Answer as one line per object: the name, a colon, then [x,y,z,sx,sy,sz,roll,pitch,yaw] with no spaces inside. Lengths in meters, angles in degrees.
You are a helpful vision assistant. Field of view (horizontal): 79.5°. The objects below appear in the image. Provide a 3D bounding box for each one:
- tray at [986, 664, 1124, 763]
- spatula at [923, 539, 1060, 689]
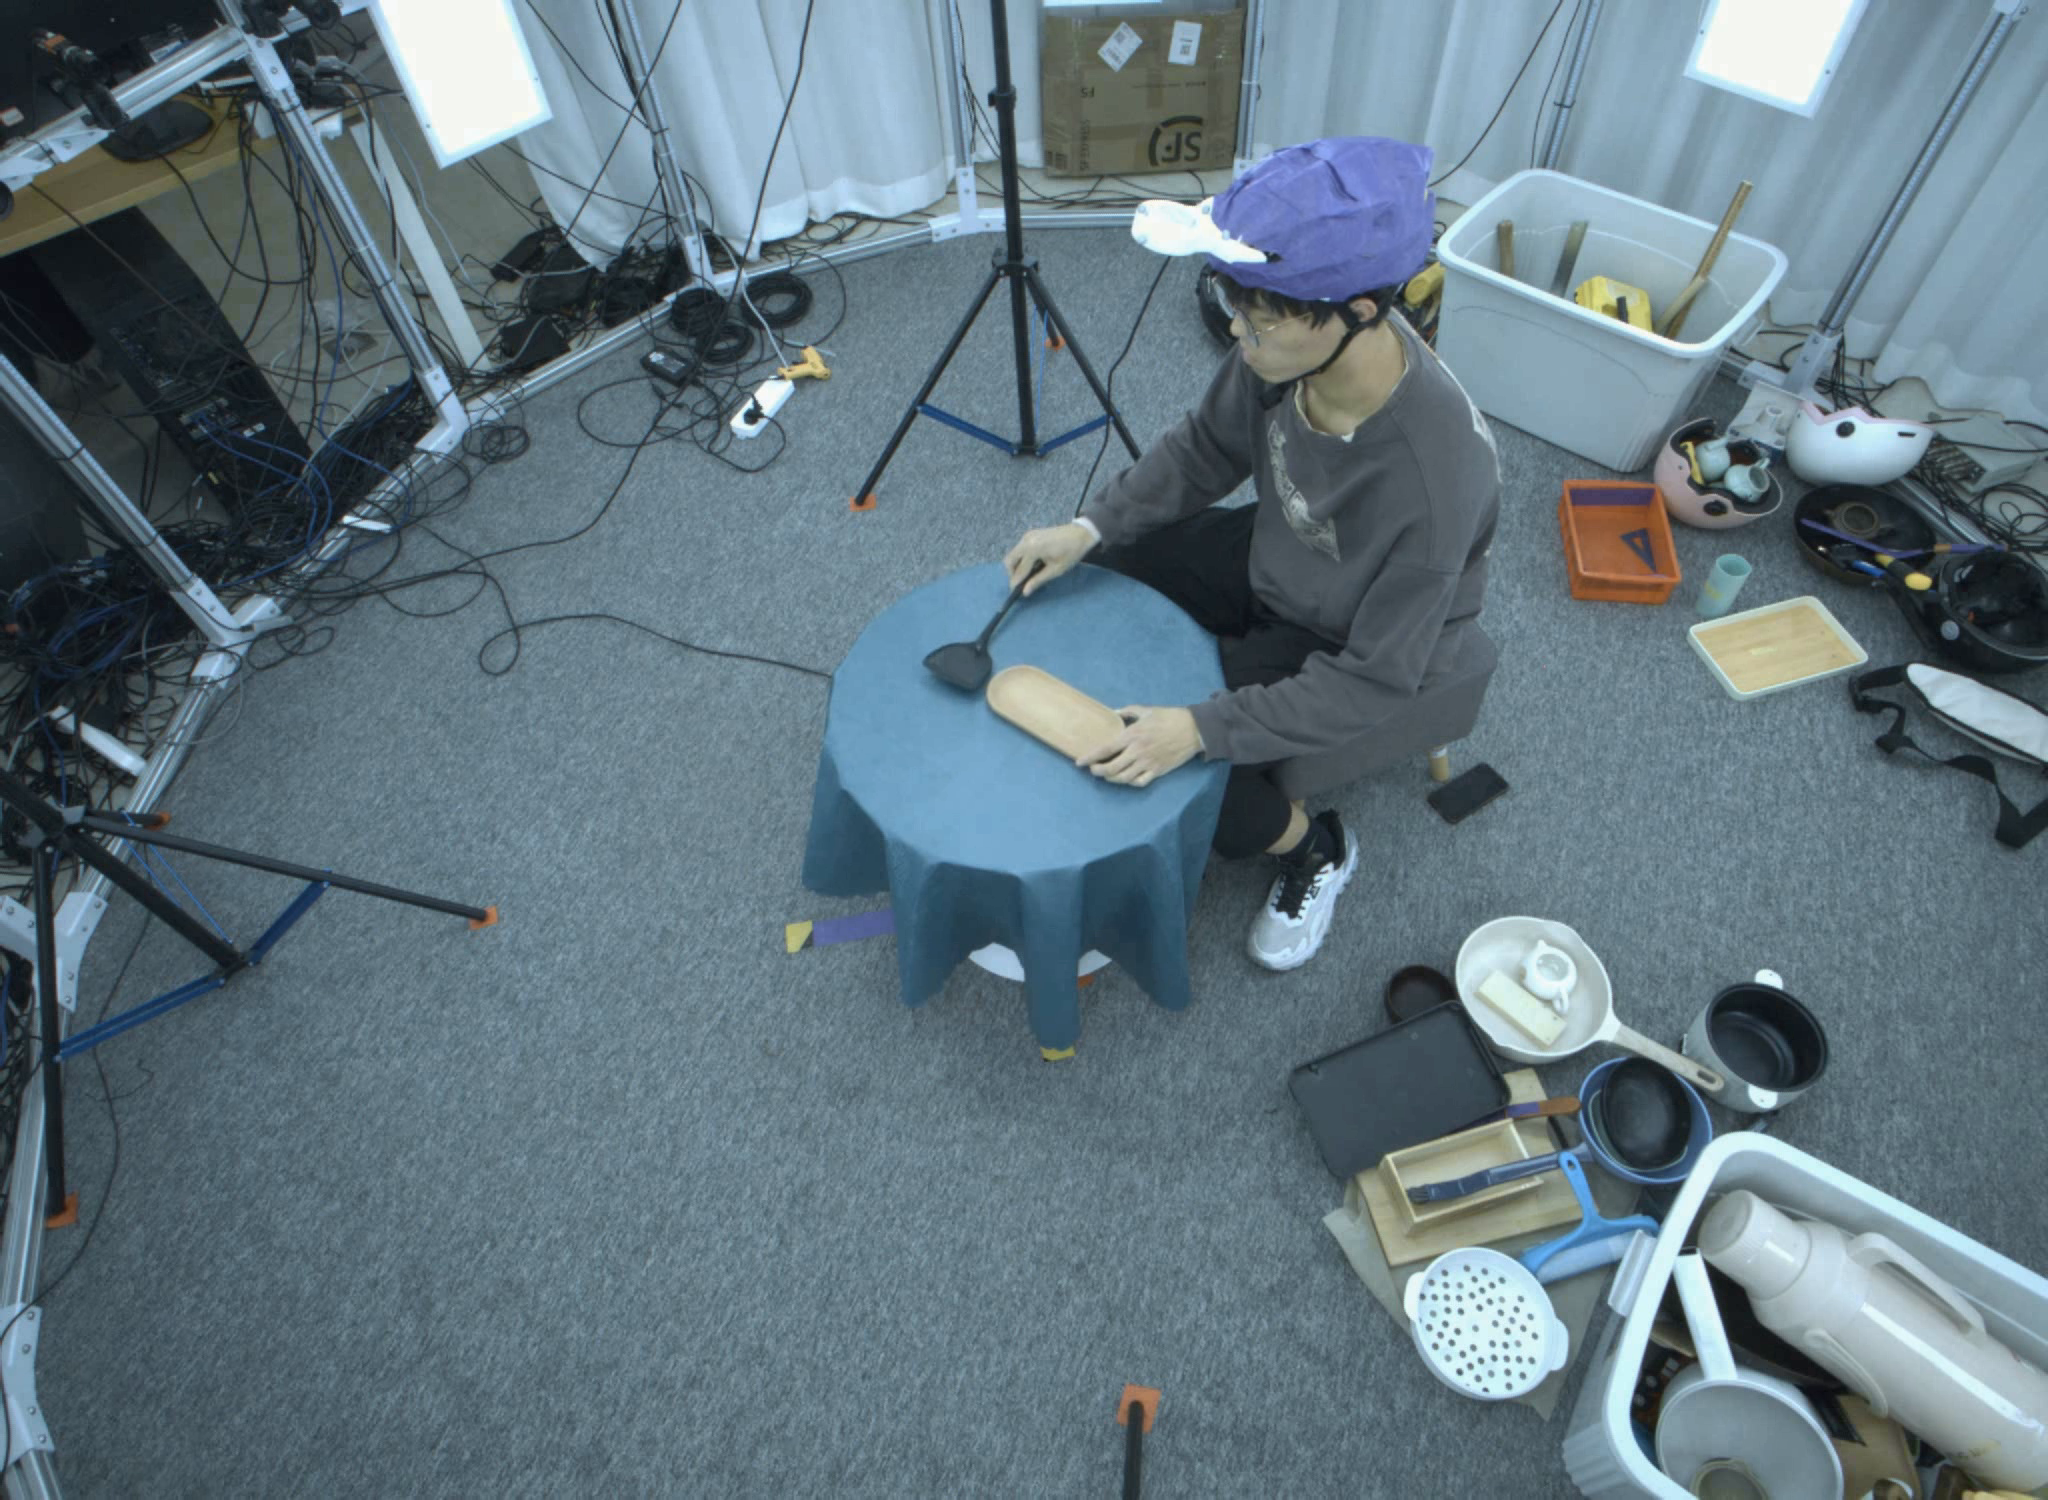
tray: [0.044,-0.055,1.813,0.227,0.020,0.102,31,60,23]
spatula: [-0.032,-0.223,1.912,0.098,0.041,0.327,28,67,15]
